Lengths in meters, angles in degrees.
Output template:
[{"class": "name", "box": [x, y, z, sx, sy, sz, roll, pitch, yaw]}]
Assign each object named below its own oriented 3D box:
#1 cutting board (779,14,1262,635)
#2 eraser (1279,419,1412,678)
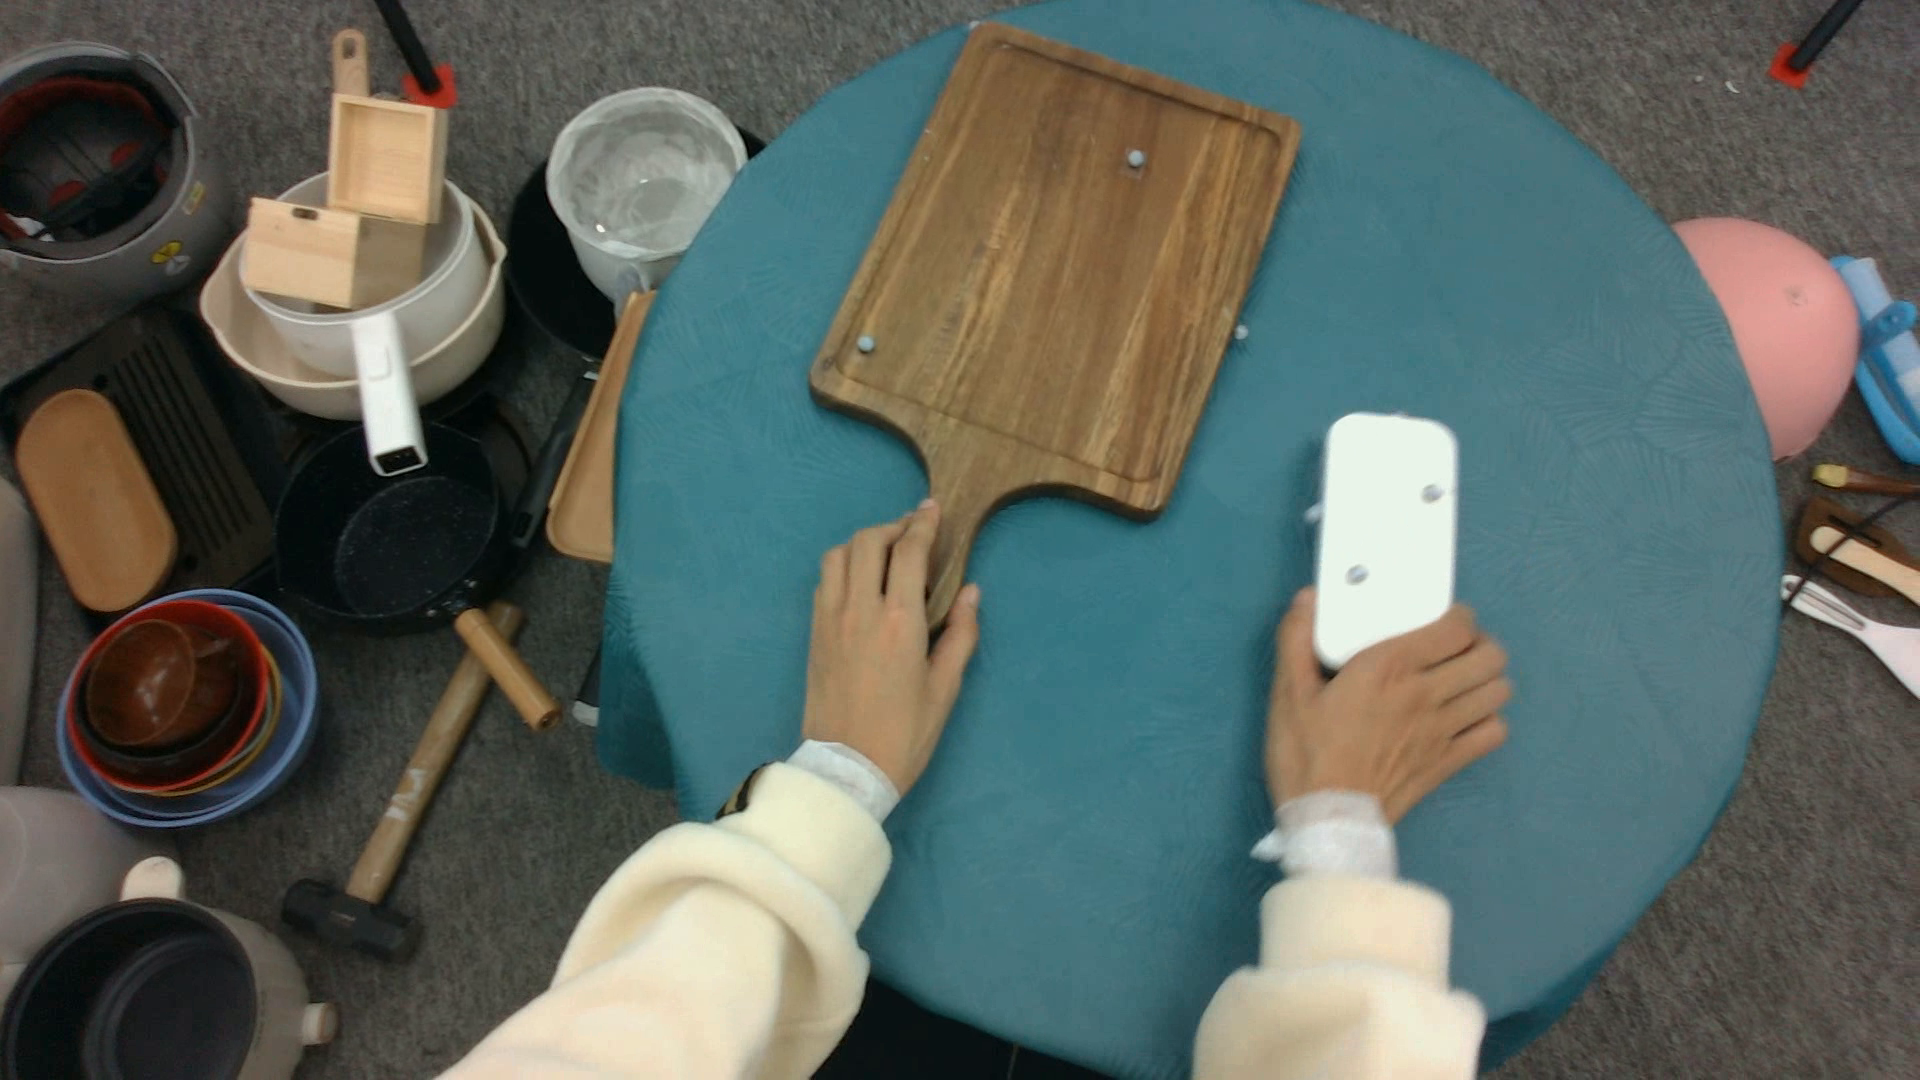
[{"class": "cutting board", "box": [0.022, -0.114, 0.720, 0.201, 0.023, 0.353, 19, 70, 4]}, {"class": "eraser", "box": [0.188, 0.002, 0.679, 0.063, 0.034, 0.132, 7, 68, 2]}]
